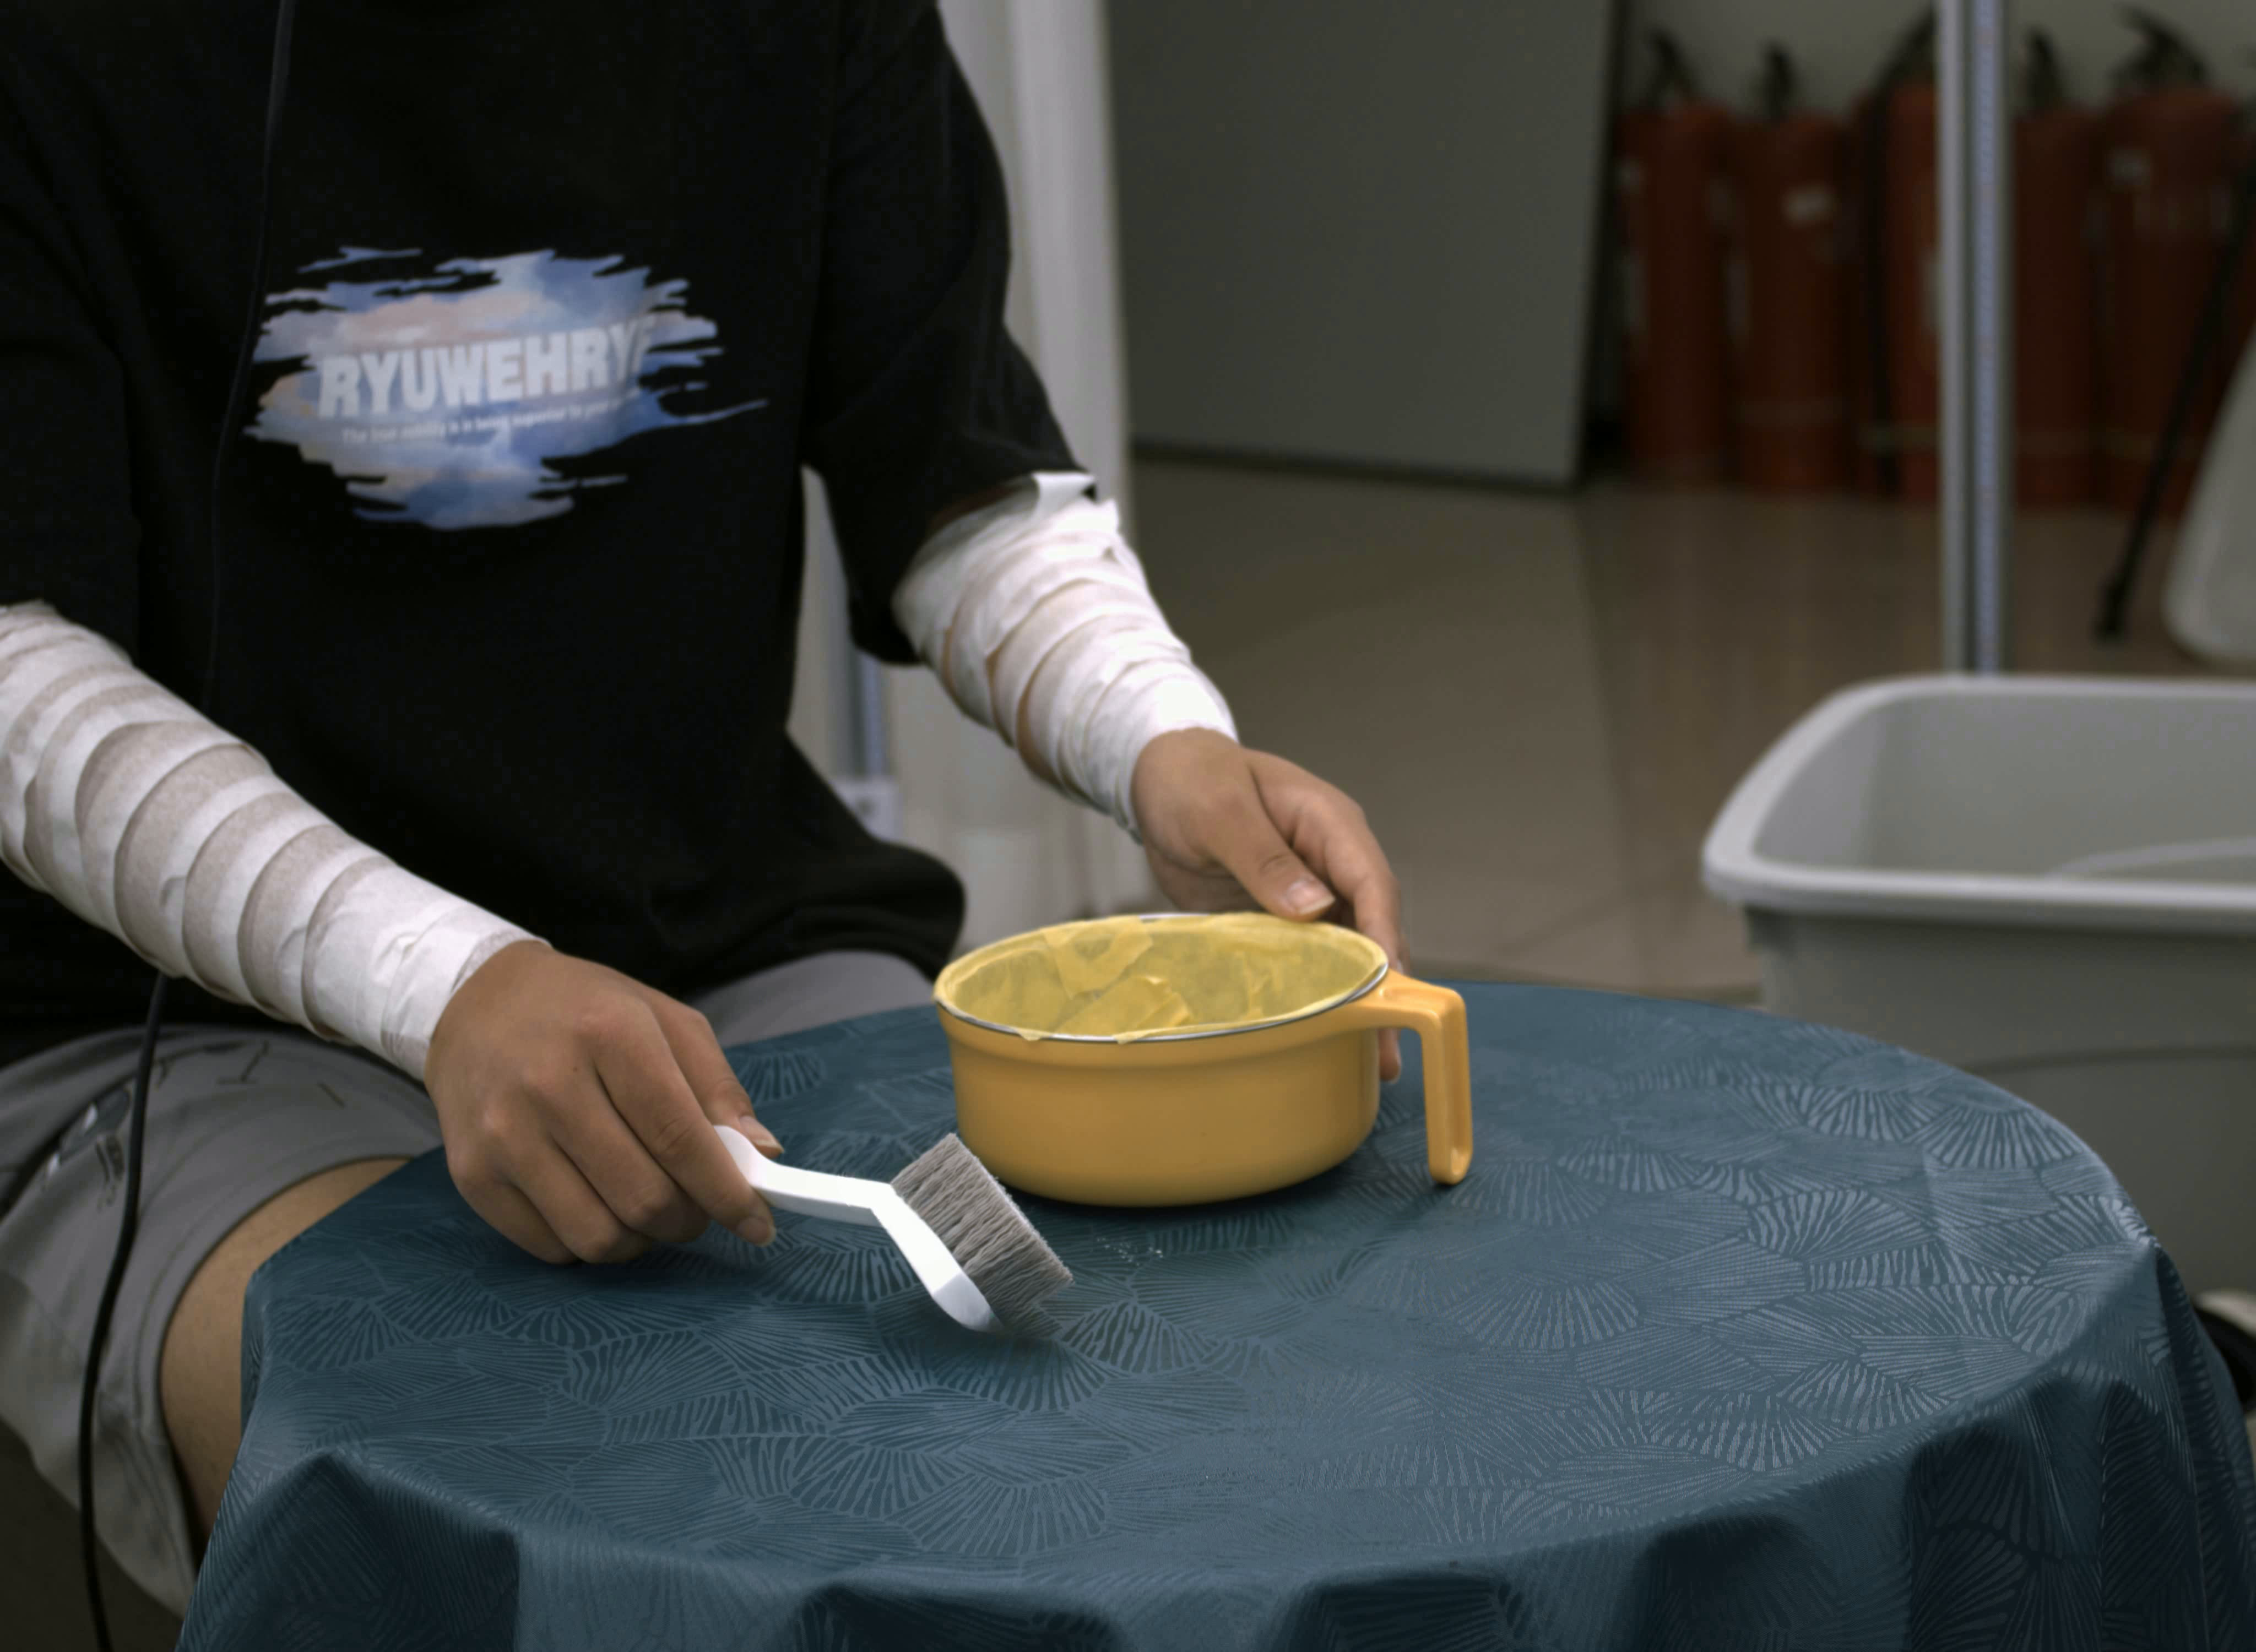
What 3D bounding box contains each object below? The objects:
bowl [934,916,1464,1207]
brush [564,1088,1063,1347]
[{"bbox_3d":[0.024,0.081,1.786,0.179,0.075,0.151,2,10,21],"label":"bowl"},{"bbox_3d":[-0.101,0.106,1.710,0.050,0.034,0.246,-53,37,-12],"label":"brush"}]
